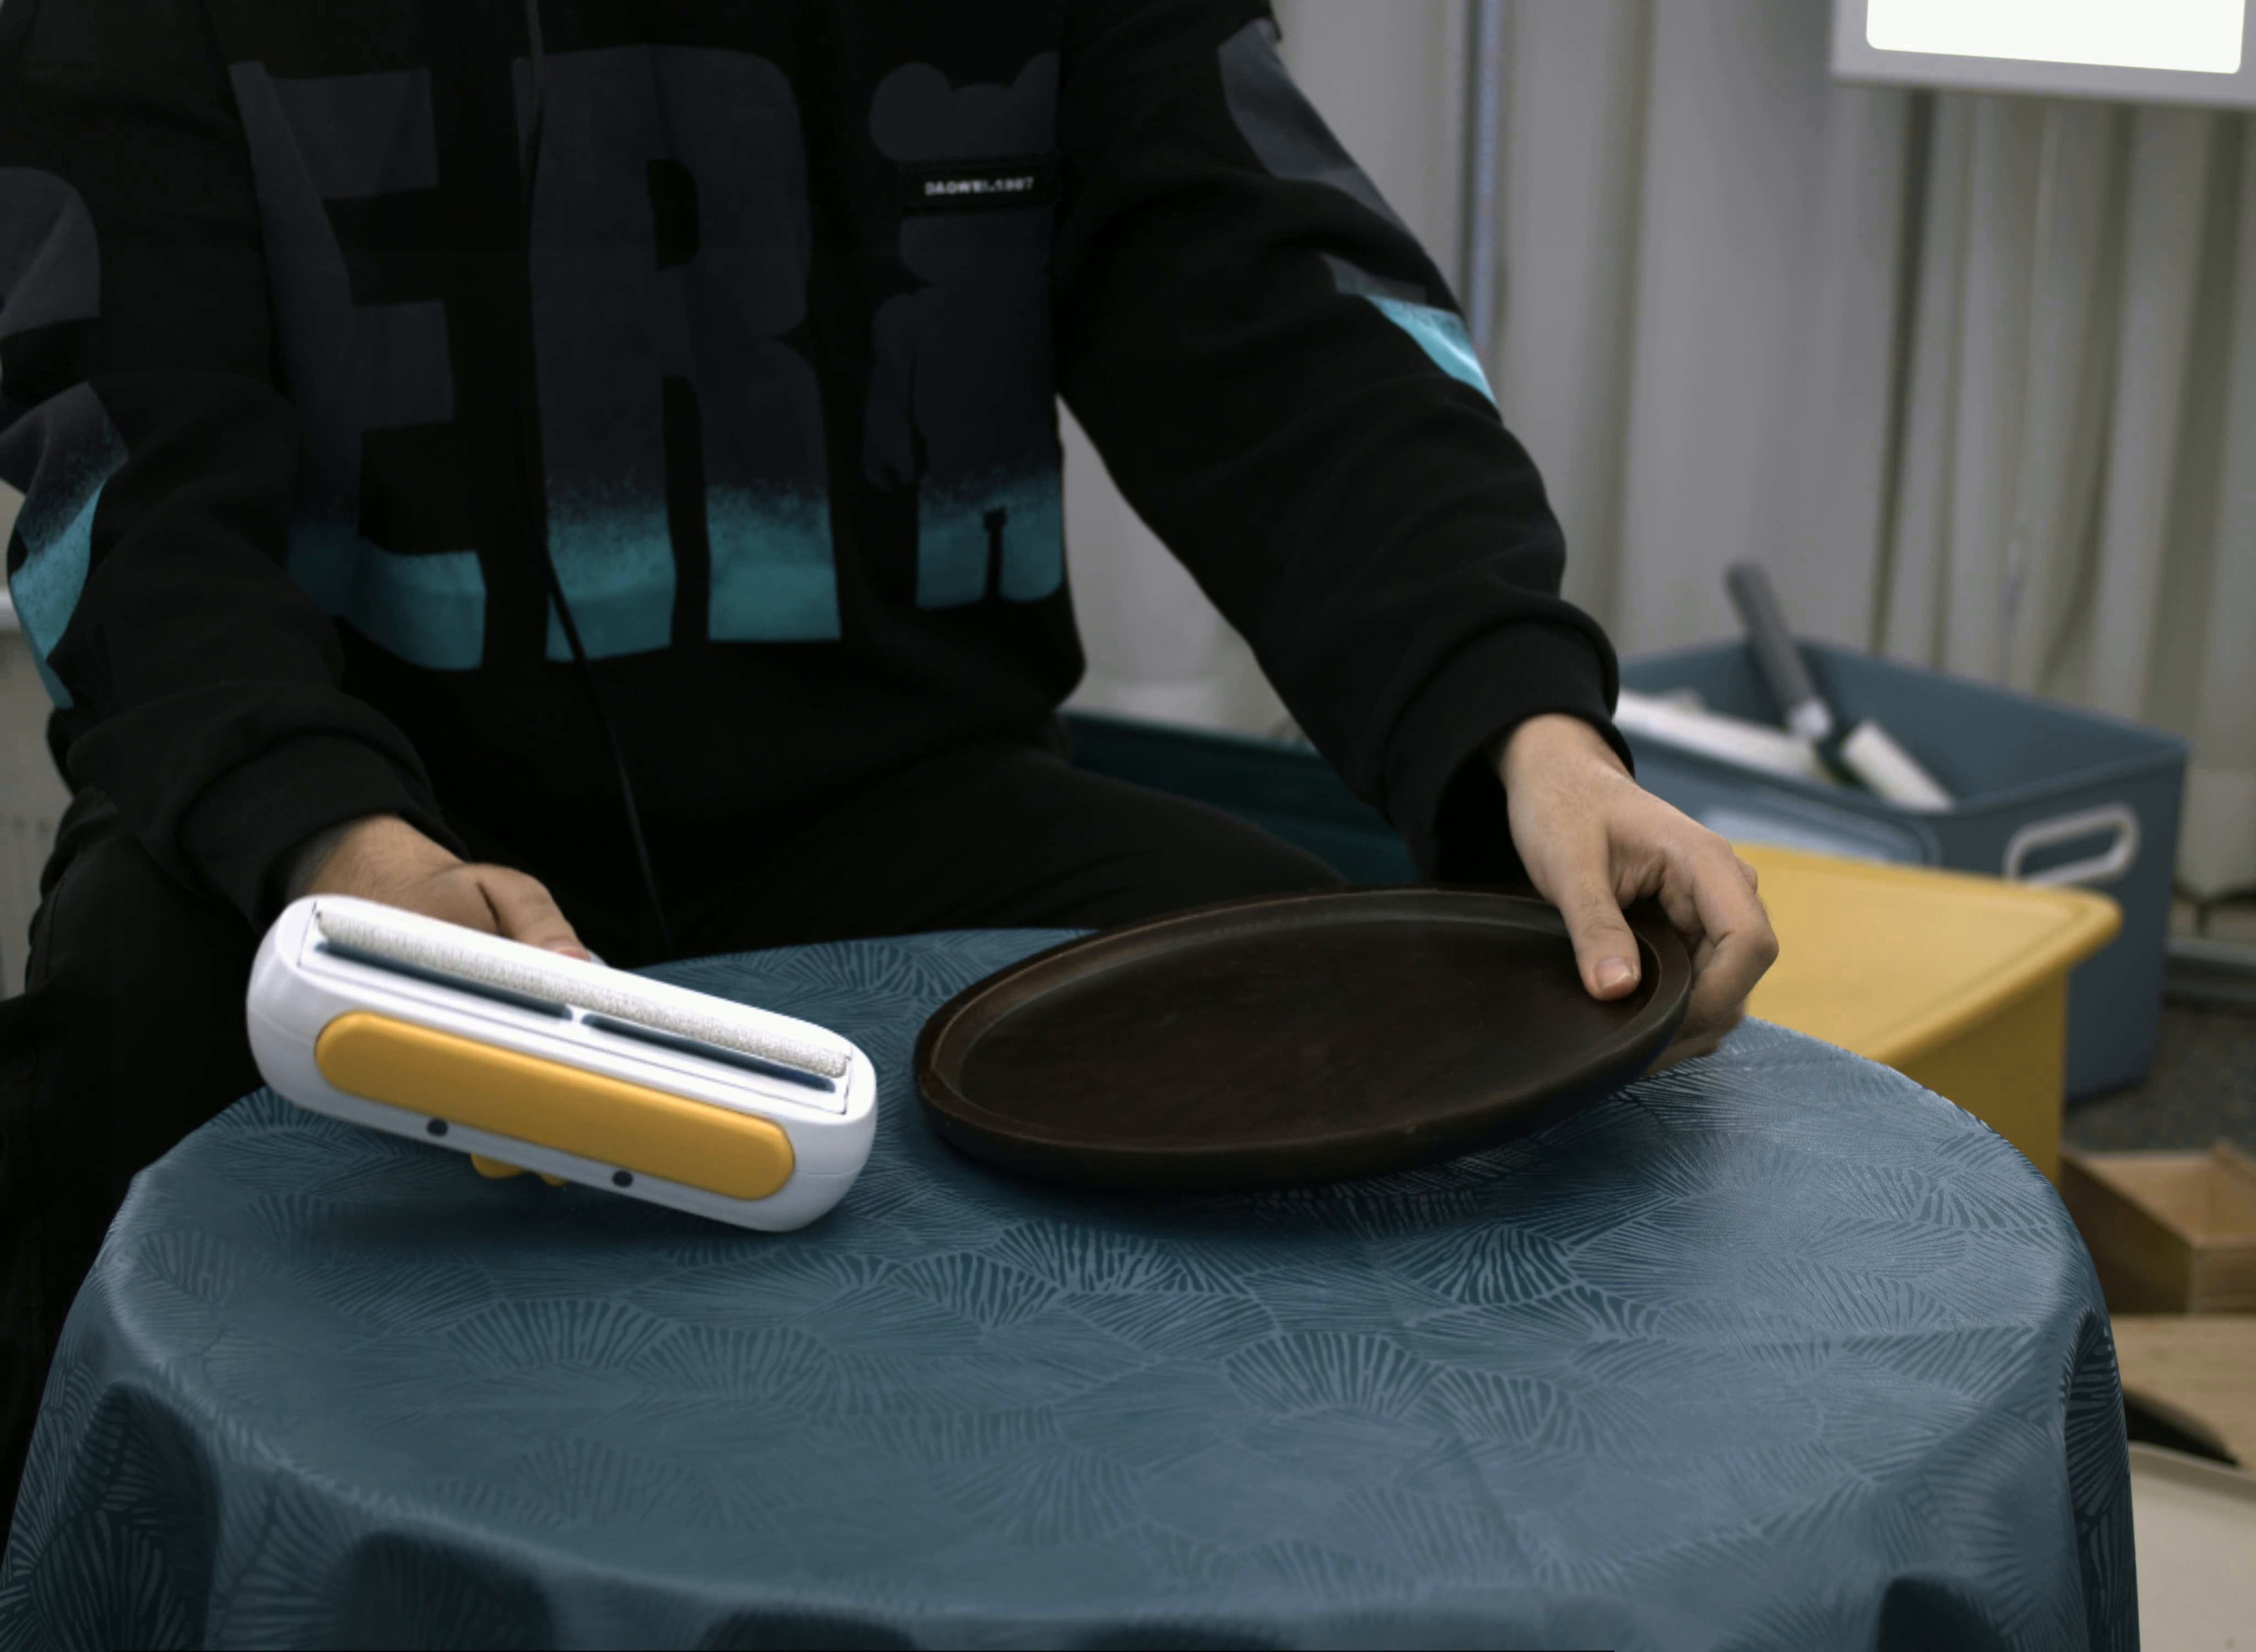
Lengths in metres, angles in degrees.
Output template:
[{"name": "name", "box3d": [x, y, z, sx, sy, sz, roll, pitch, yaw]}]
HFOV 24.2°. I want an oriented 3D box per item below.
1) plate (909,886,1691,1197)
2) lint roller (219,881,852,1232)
[{"name": "plate", "box3d": [0.055, 0.067, 1.686, 0.254, 0.029, 0.253, -8, 14, 3]}, {"name": "lint roller", "box3d": [-0.178, 0.058, 1.636, 0.192, 0.074, 0.191, 14, 17, -4]}]
